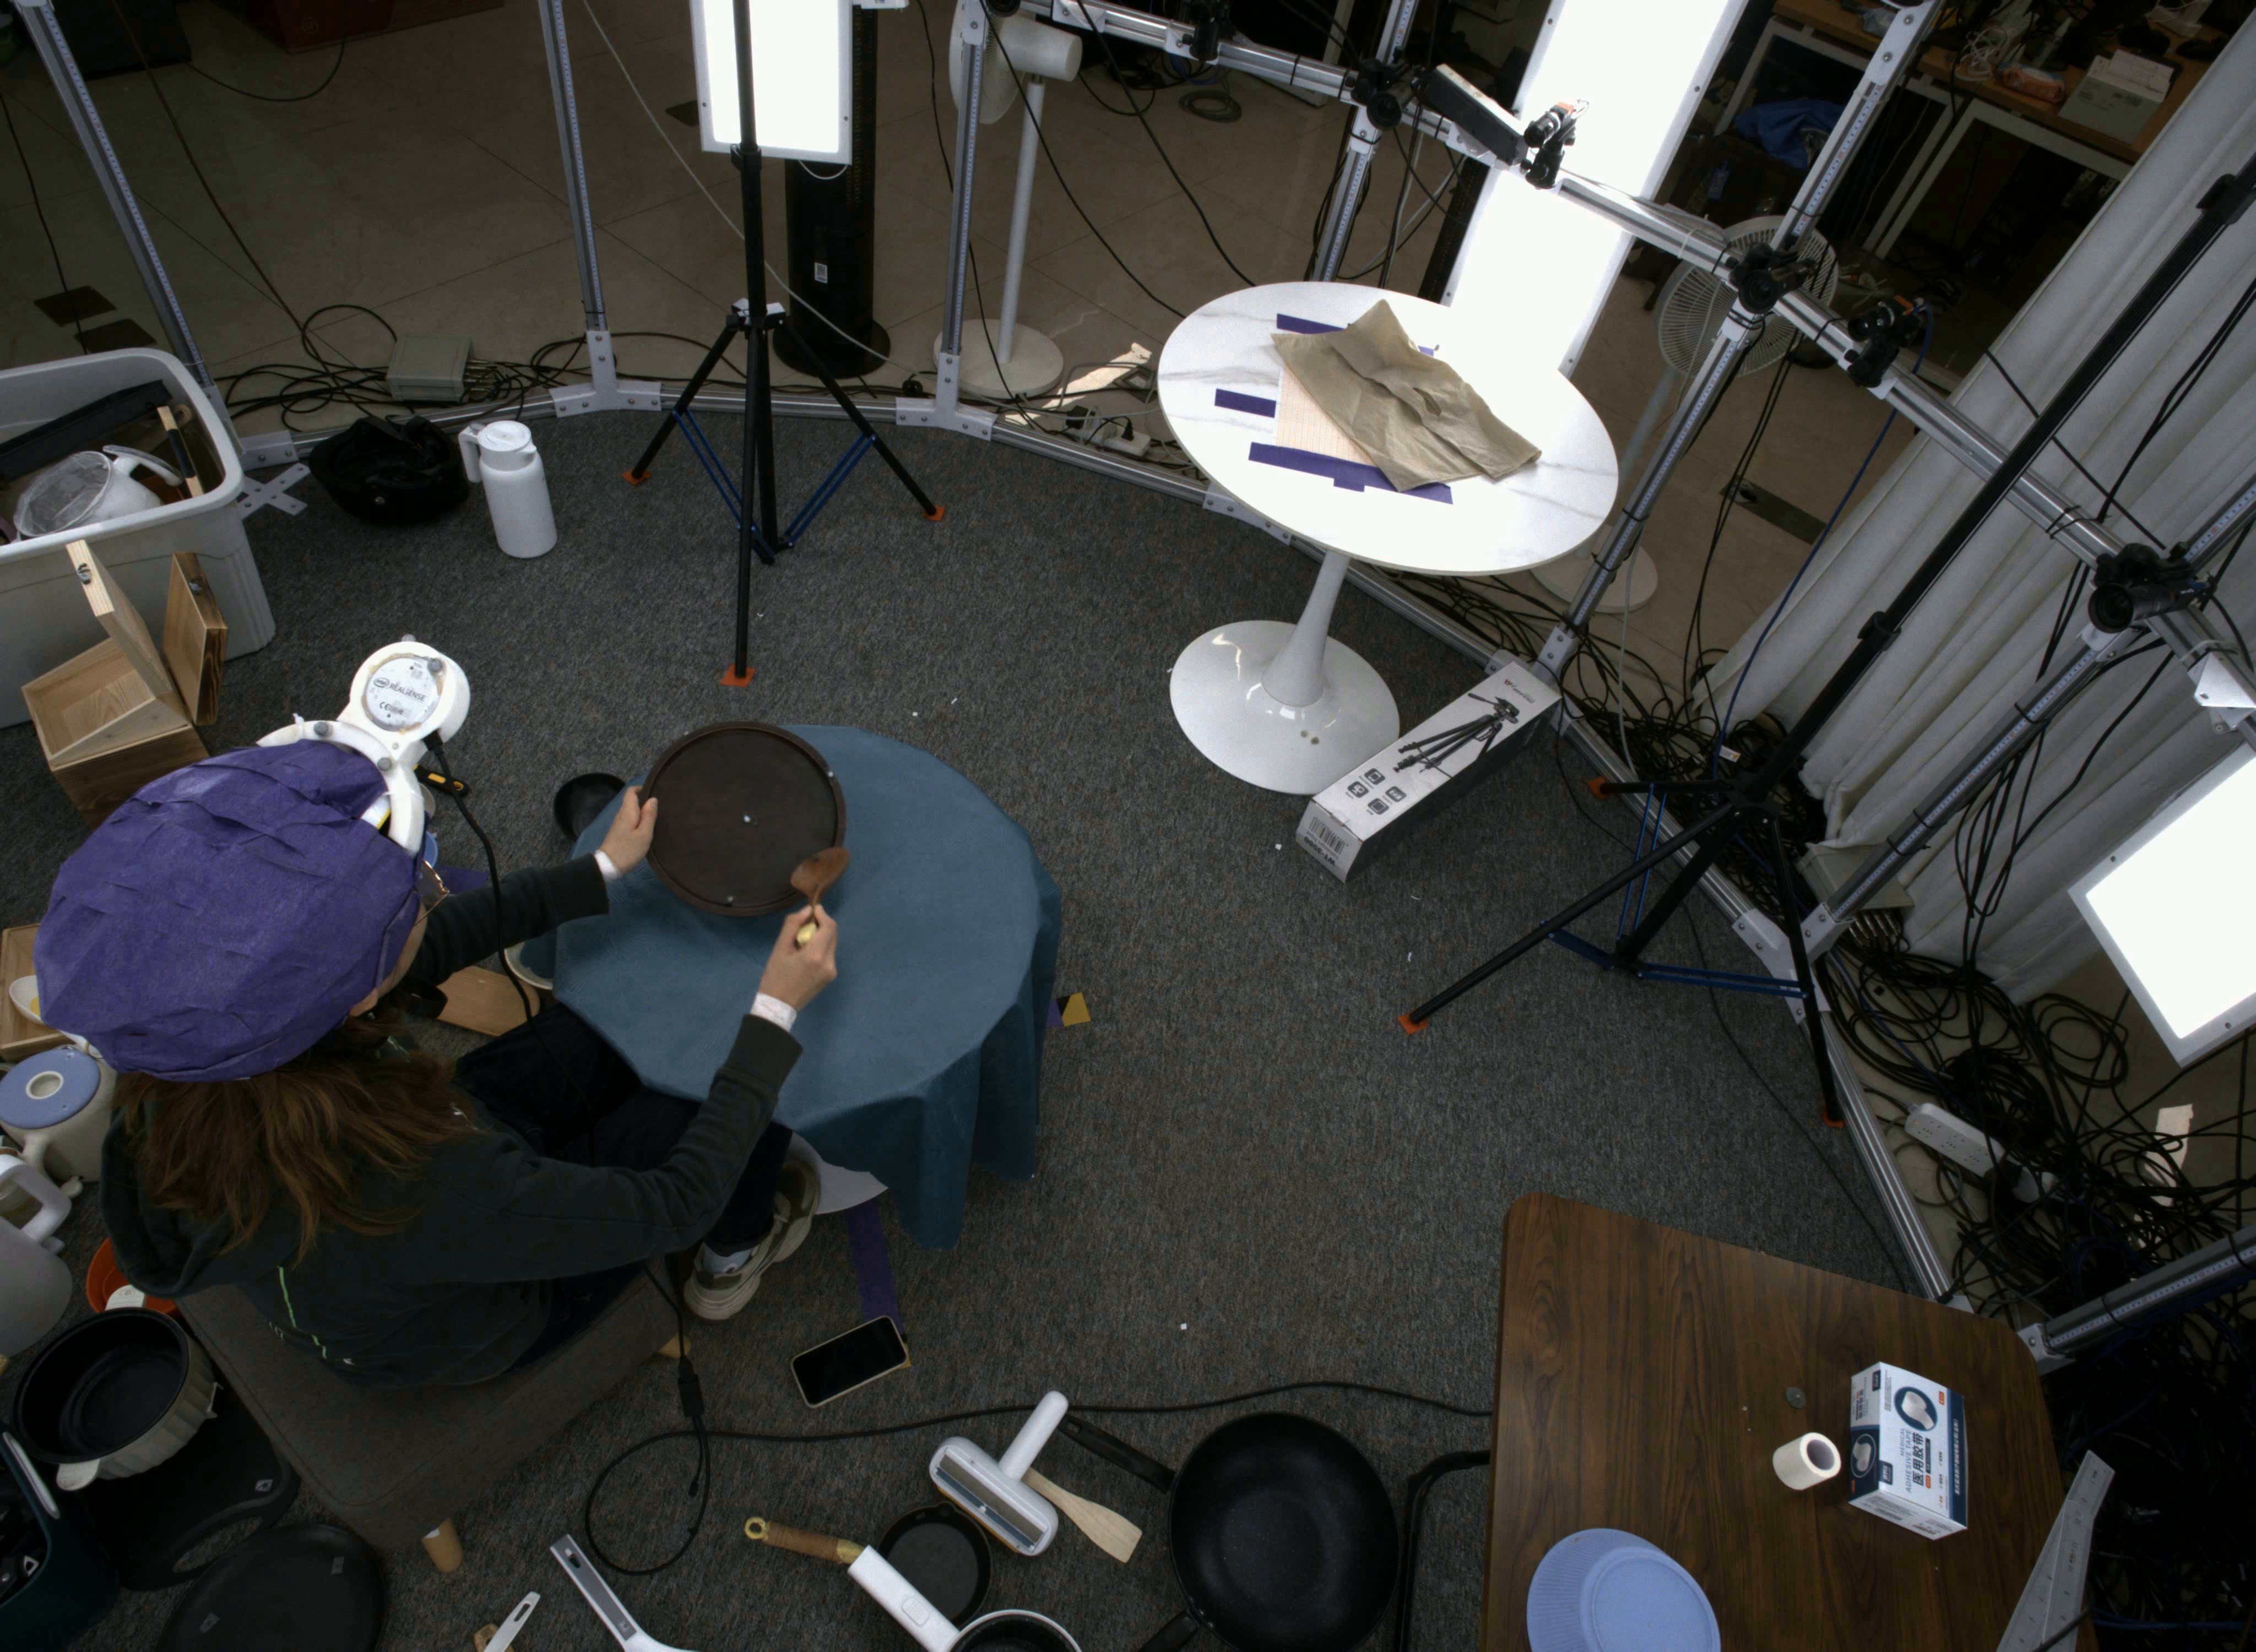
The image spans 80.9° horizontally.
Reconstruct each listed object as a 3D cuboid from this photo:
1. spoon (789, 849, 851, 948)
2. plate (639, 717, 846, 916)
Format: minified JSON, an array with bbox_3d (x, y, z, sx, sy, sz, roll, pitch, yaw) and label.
[{"bbox_3d":[-0.354,0.079,1.471,0.075,0.018,0.210,-18,25,1],"label":"spoon"},{"bbox_3d":[-0.479,-0.013,1.610,0.257,0.029,0.254,7,73,-19],"label":"plate"}]
